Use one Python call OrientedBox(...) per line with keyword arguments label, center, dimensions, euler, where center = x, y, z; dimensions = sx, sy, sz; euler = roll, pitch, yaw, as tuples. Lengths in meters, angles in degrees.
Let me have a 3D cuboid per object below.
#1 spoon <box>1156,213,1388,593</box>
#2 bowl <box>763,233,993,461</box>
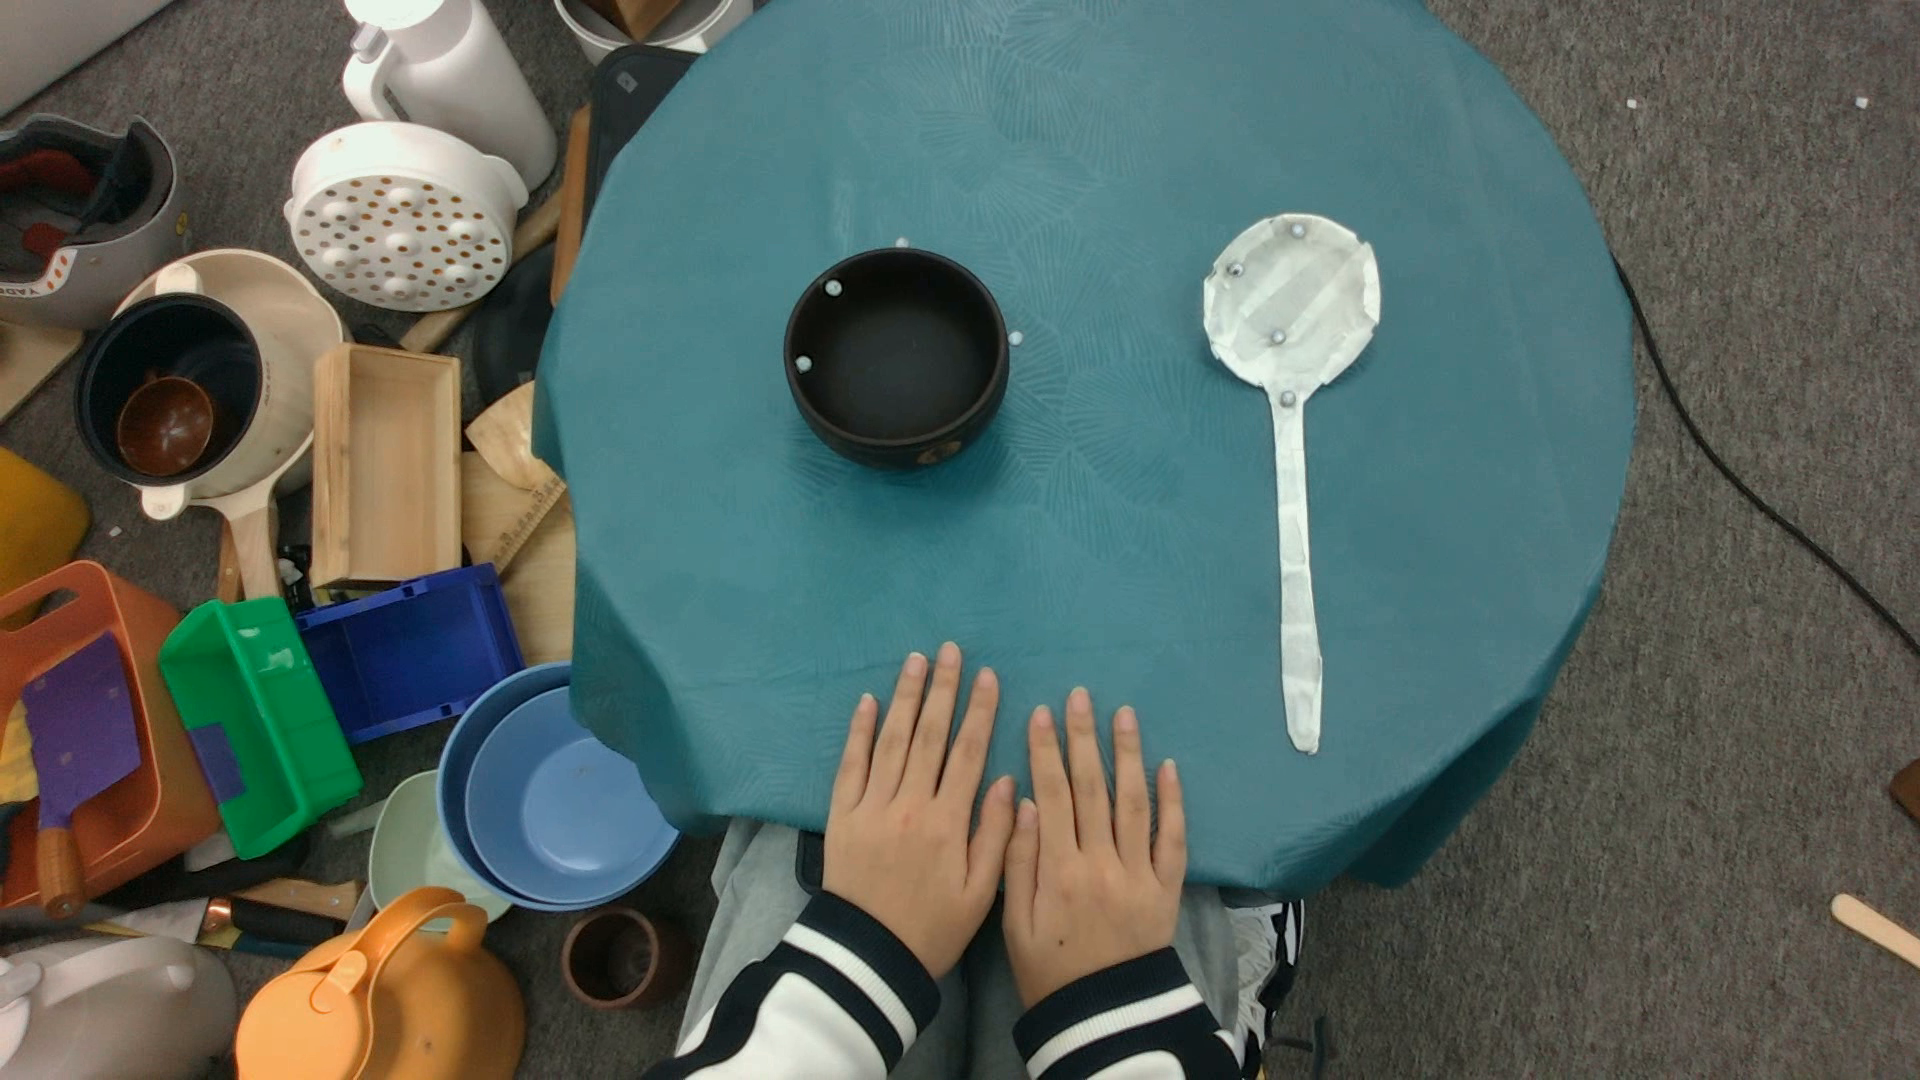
OrientedBox(label="spoon", center=(0.204, -0.071, 0.811), dimensions=(0.100, 0.277, 0.059), euler=(-26, 41, 15))
OrientedBox(label="bowl", center=(-0.041, -0.095, 0.730), dimensions=(0.118, 0.069, 0.118), euler=(-1, 71, 2))
